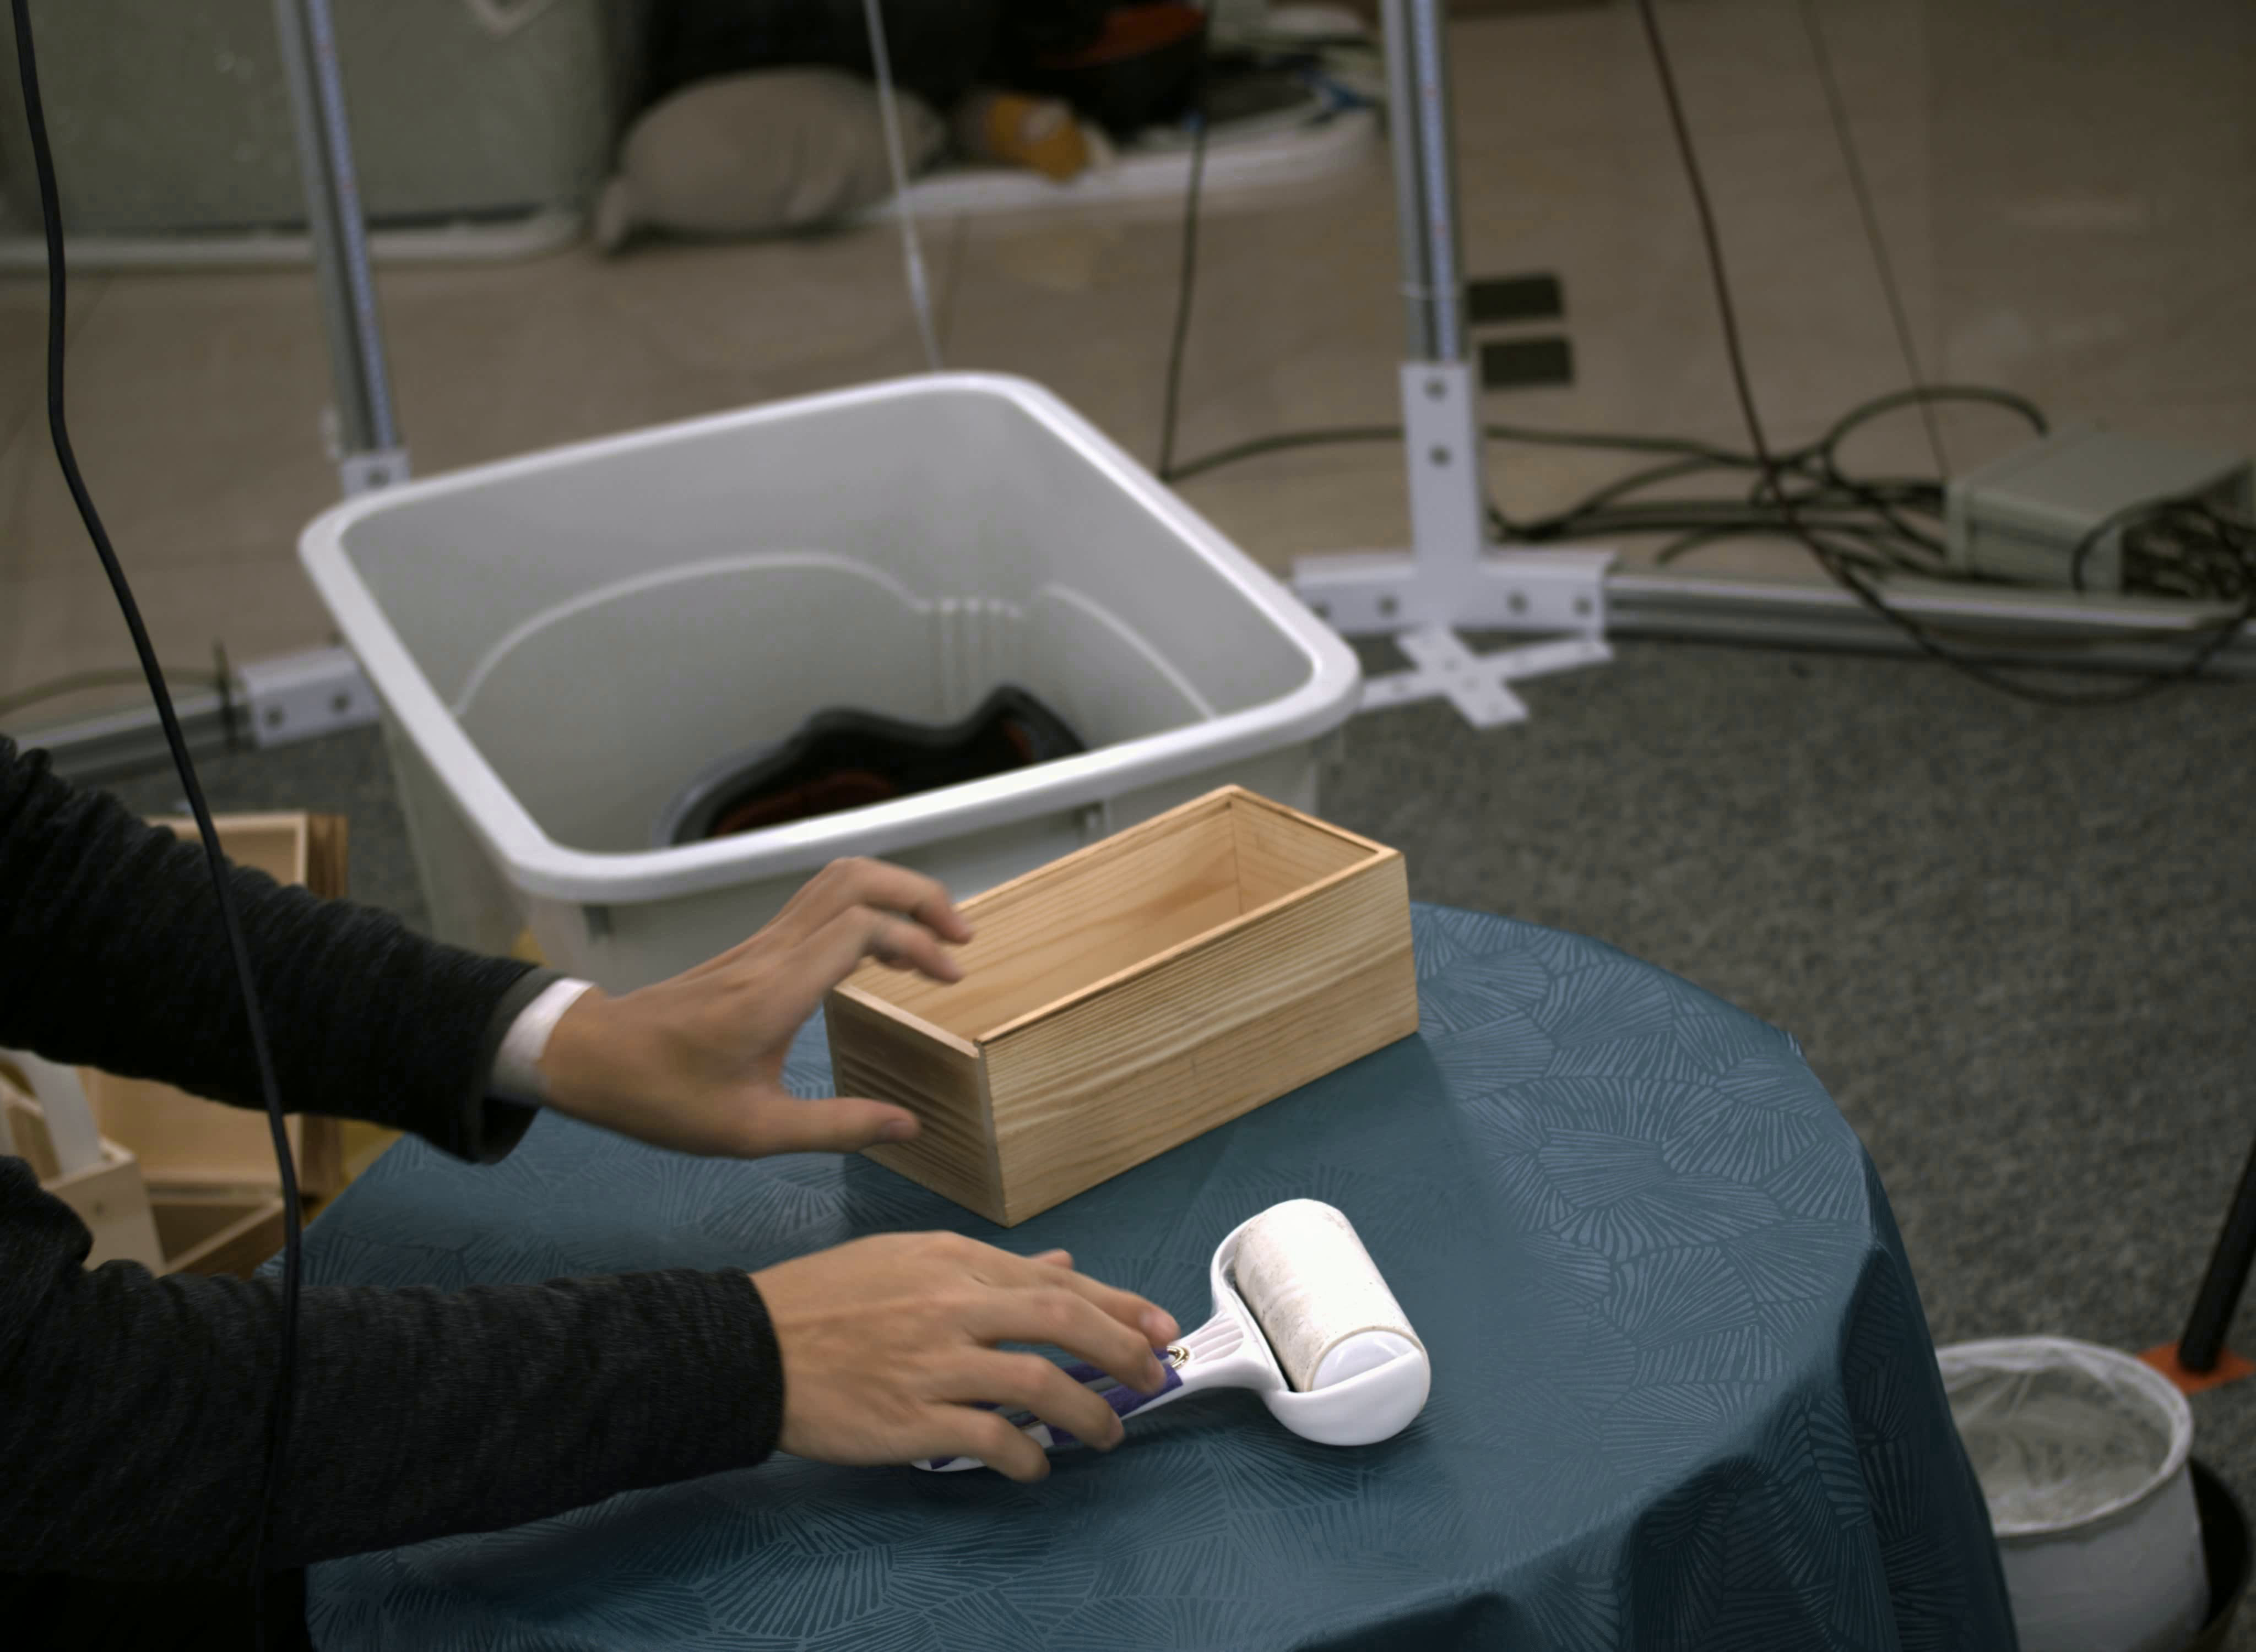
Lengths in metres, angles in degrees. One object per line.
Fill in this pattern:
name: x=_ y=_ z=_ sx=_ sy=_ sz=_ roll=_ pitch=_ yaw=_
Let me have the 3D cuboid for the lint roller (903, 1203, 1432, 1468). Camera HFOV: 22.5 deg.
lint roller: x=0.007 y=0.185 z=1.990 sx=0.180 sy=0.051 sz=0.131 roll=-8 pitch=26 yaw=-9

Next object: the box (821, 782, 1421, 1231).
box: x=-0.001 y=0.068 z=2.207 sx=0.210 sy=0.081 sz=0.106 roll=-25 pitch=31 yaw=-33
